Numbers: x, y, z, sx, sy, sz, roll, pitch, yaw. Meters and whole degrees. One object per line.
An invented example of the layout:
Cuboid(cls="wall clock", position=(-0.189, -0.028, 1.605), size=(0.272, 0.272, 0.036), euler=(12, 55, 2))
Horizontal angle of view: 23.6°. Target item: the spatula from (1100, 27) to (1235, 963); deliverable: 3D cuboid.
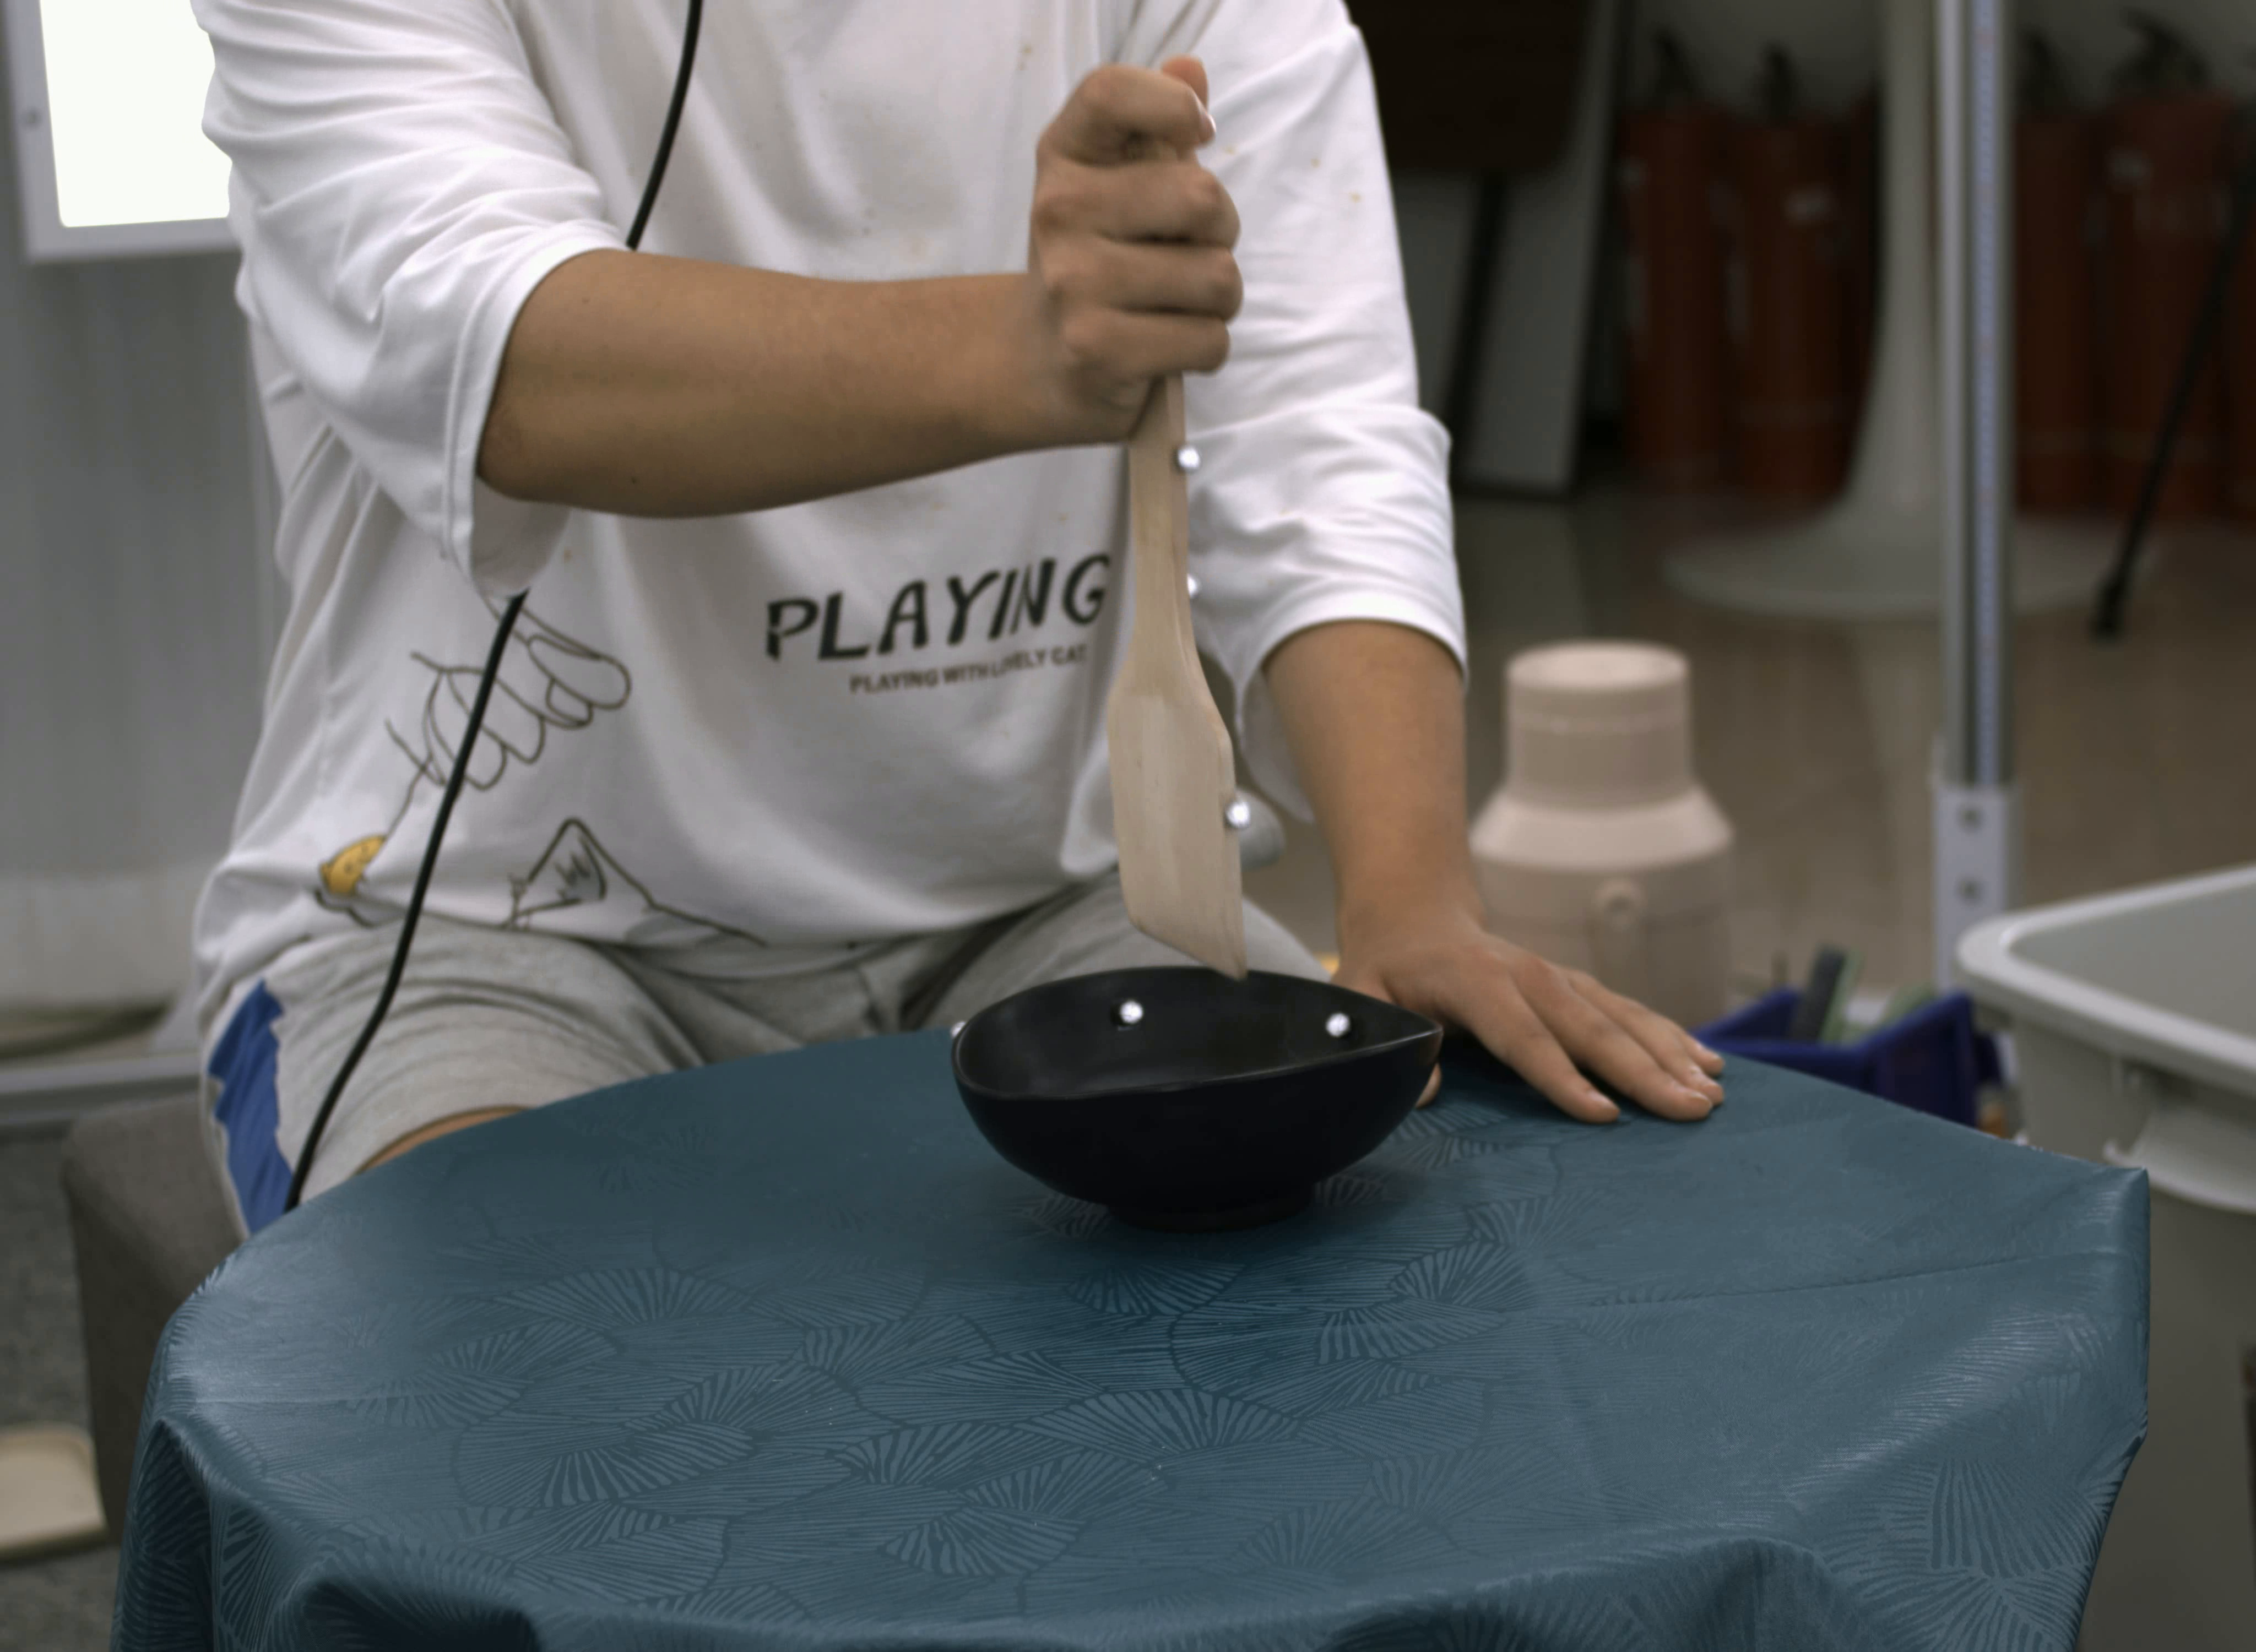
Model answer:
Cuboid(cls="spatula", position=(0.009, -0.102, 1.703), size=(0.010, 0.296, 0.073), euler=(-11, 19, -28))

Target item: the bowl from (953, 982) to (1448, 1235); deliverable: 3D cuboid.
Cuboid(cls="bowl", position=(0.024, 0.093, 1.751), size=(0.166, 0.067, 0.139), euler=(-9, 13, -29))
